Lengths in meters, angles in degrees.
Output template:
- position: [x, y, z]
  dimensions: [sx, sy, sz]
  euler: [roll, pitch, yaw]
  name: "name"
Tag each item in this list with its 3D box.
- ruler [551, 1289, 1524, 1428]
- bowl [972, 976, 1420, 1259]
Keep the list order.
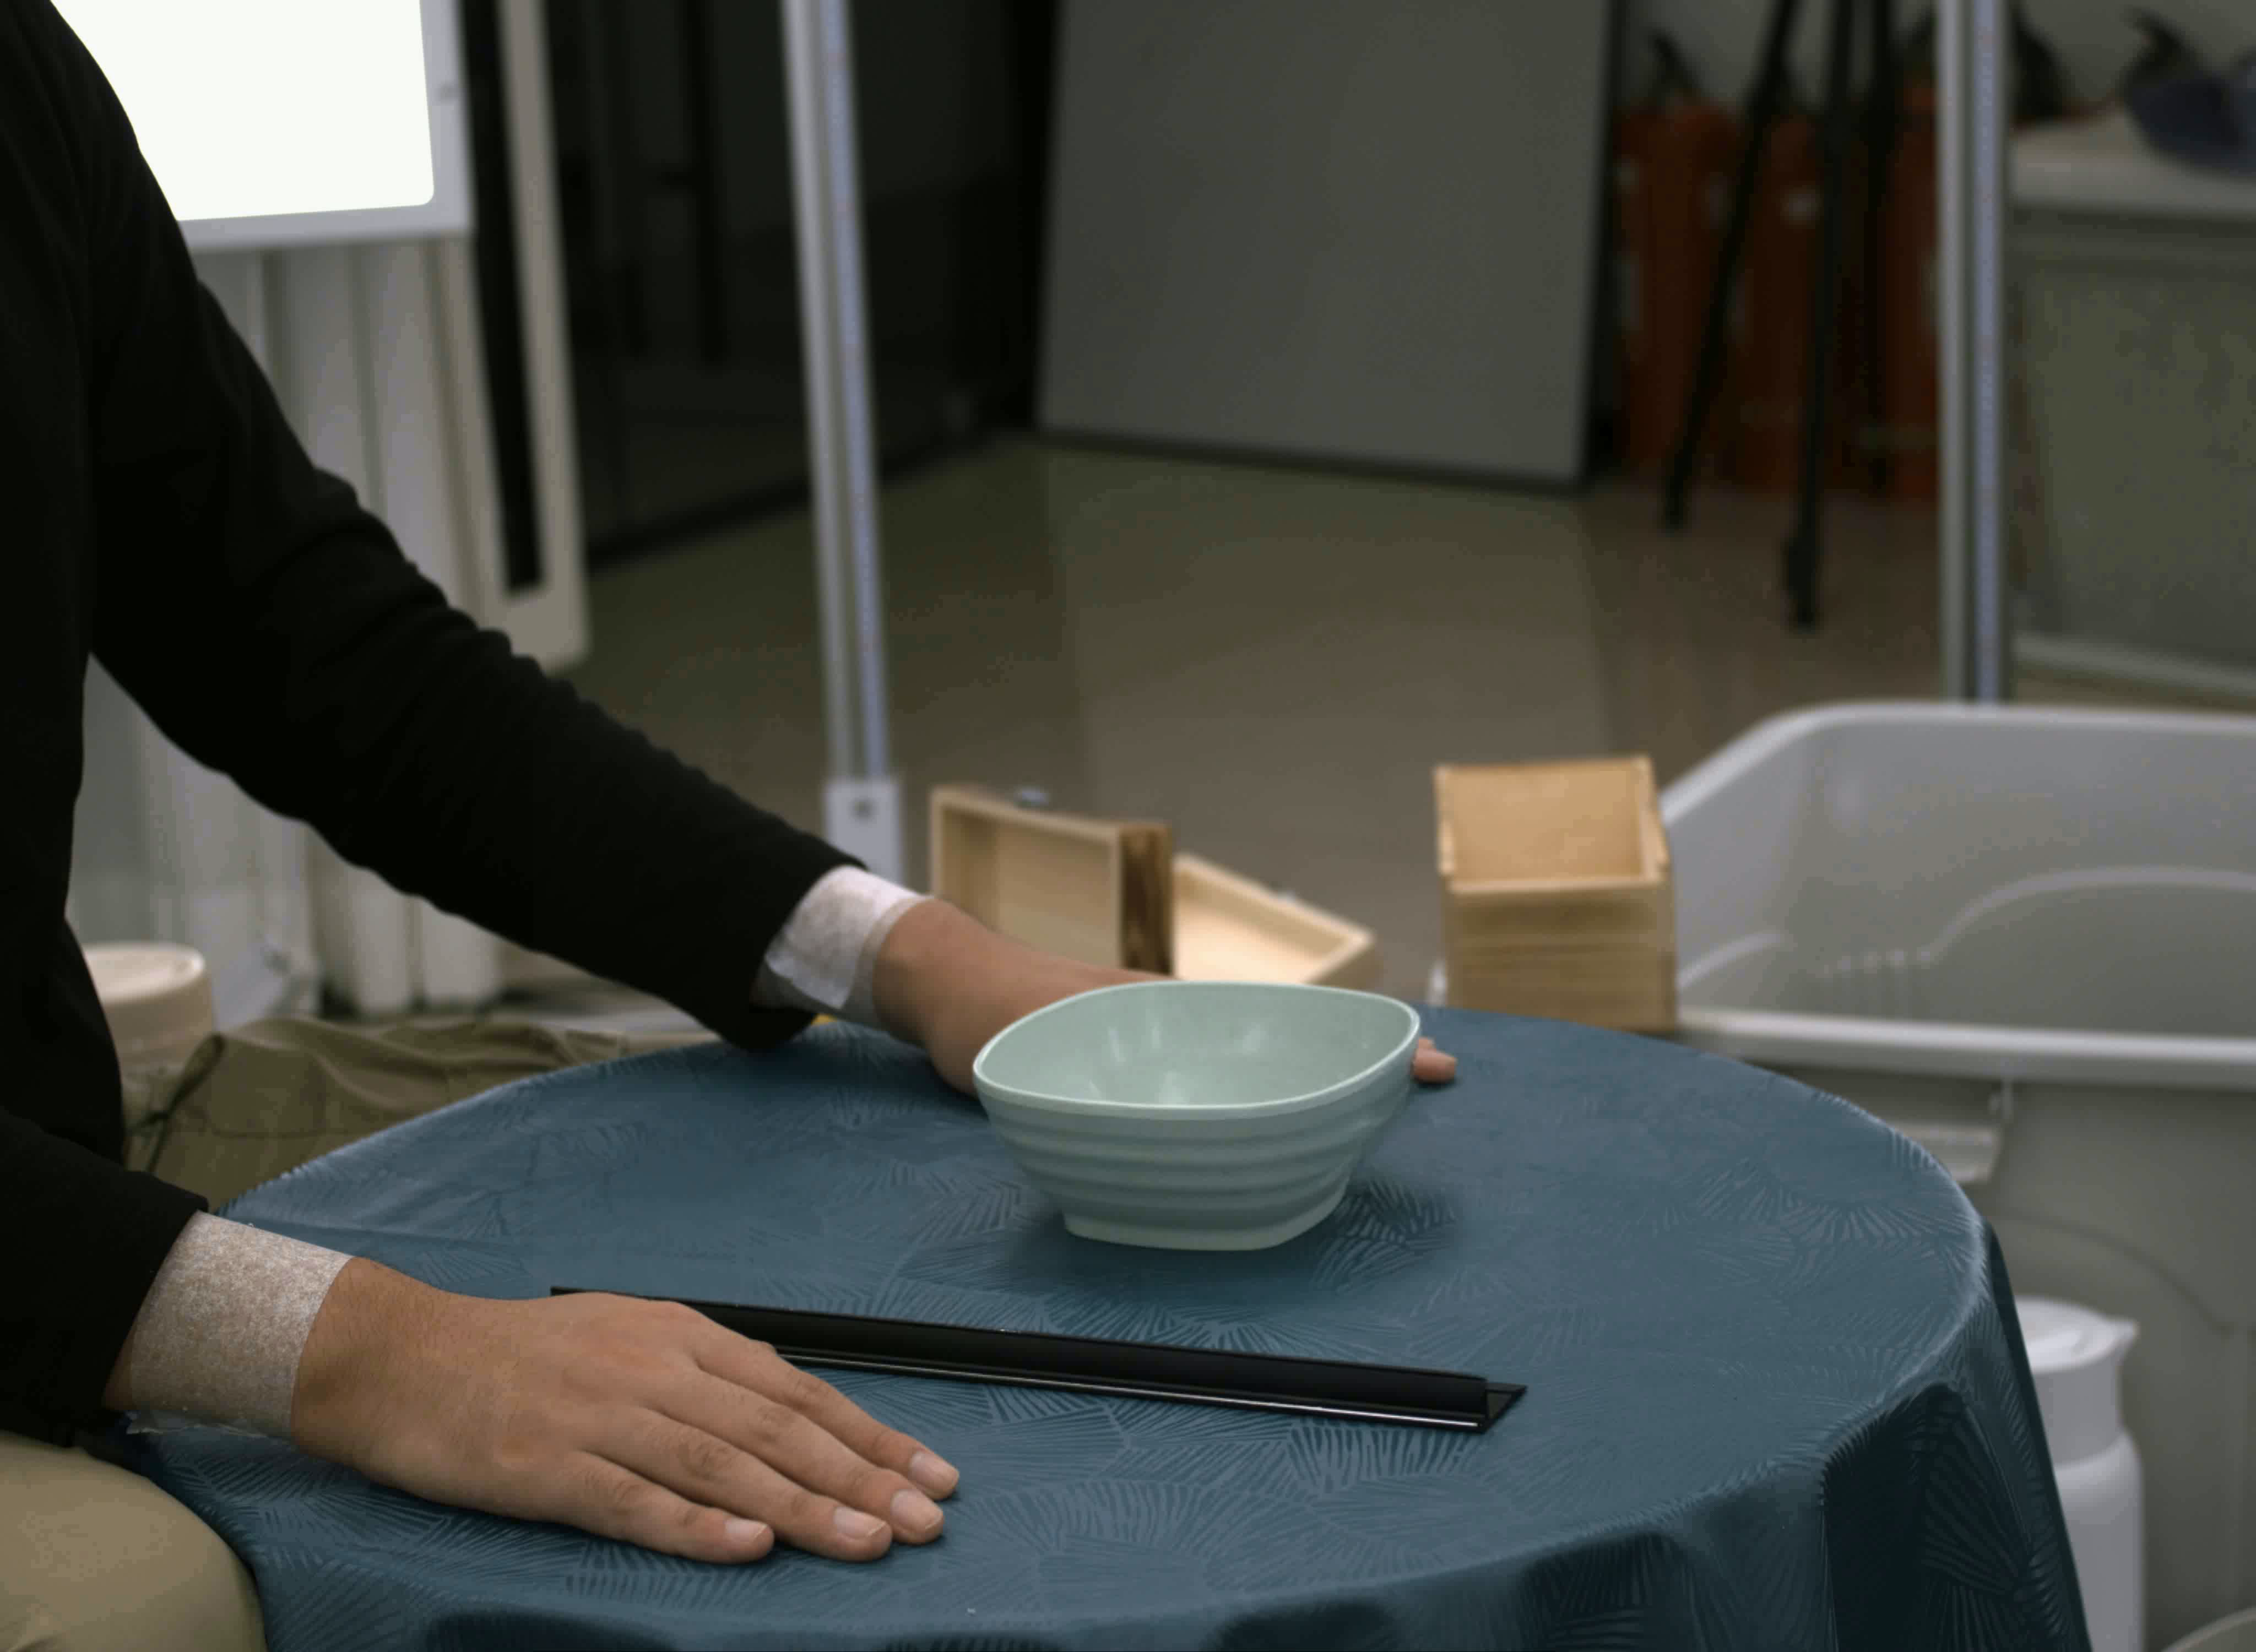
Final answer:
- position: [-0.031, 0.154, 1.612]
  dimensions: [0.313, 0.017, 0.039]
  euler: [2, 11, 26]
  name: "ruler"
- position: [0.023, 0.097, 1.742]
  dimensions: [0.149, 0.059, 0.152]
  euler: [-3, 15, 0]
  name: "bowl"
